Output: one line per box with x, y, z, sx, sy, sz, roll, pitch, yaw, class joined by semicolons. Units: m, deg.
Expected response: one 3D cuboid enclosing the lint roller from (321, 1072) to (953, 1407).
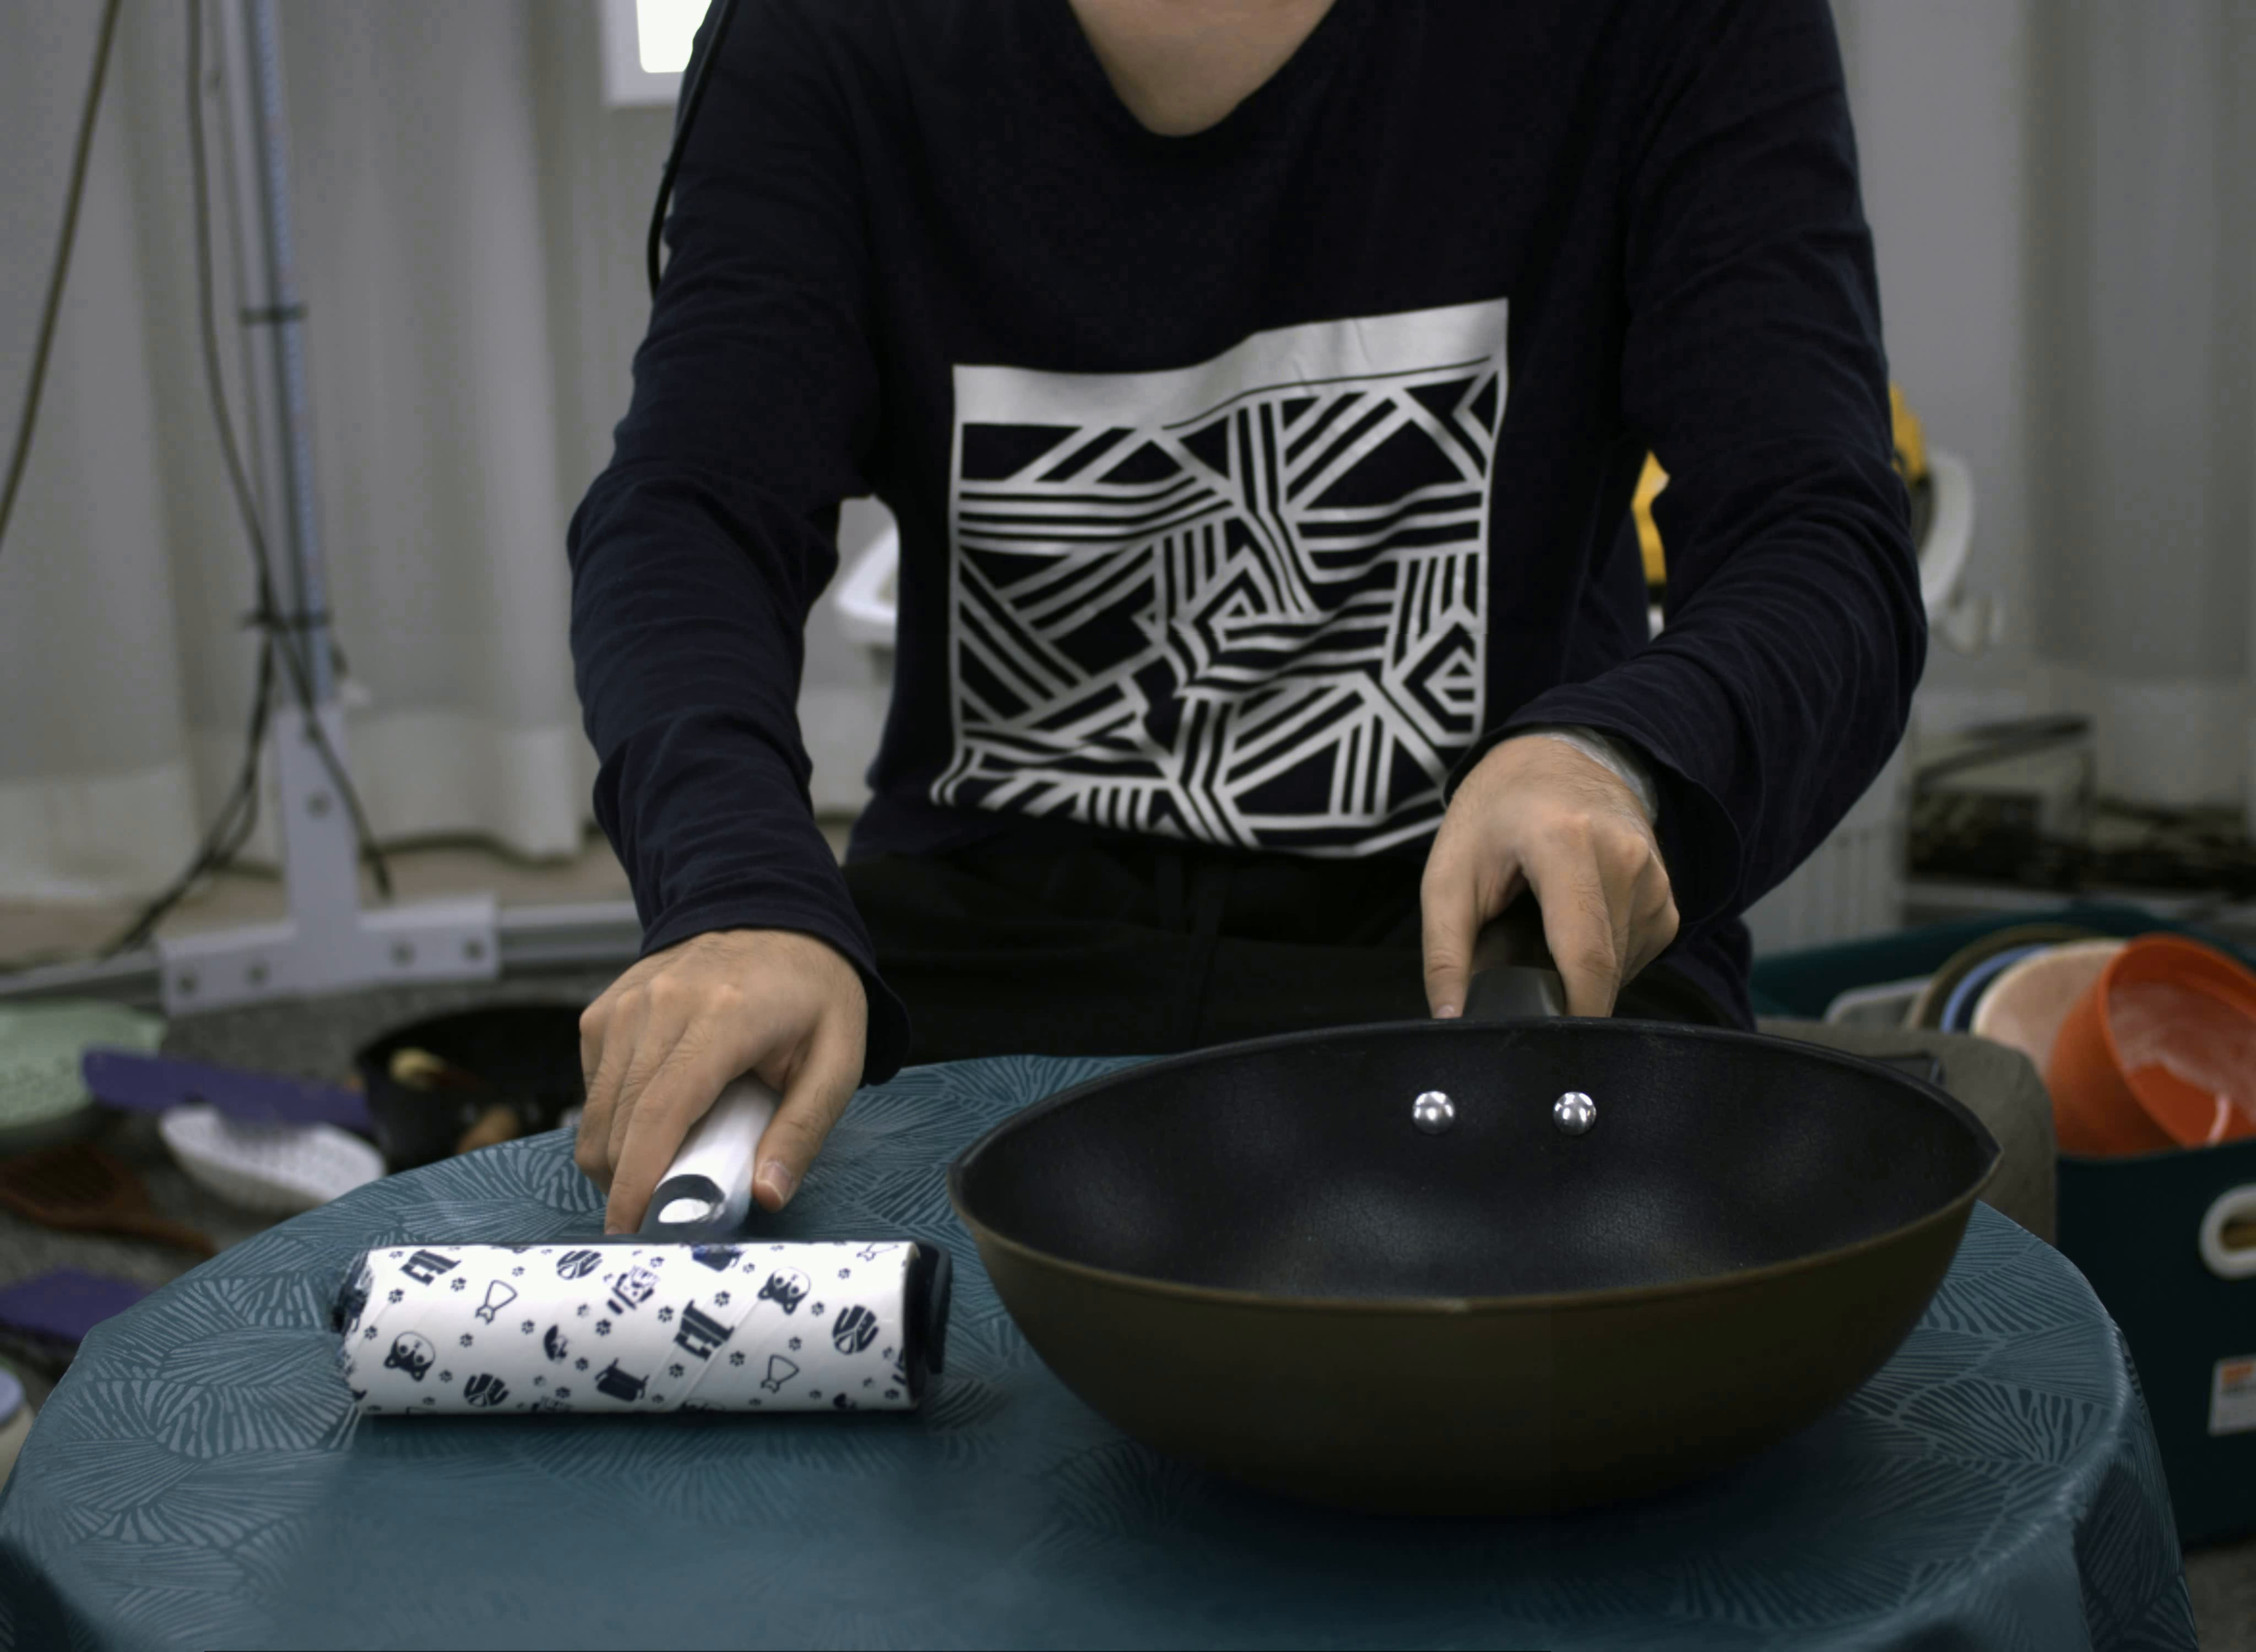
-0.131;0.113;1.644;0.176;0.050;0.248;-3;15;6;lint roller

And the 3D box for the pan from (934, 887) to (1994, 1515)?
0.105;0.105;1.577;0.287;0.086;0.465;-2;12;9;pan
